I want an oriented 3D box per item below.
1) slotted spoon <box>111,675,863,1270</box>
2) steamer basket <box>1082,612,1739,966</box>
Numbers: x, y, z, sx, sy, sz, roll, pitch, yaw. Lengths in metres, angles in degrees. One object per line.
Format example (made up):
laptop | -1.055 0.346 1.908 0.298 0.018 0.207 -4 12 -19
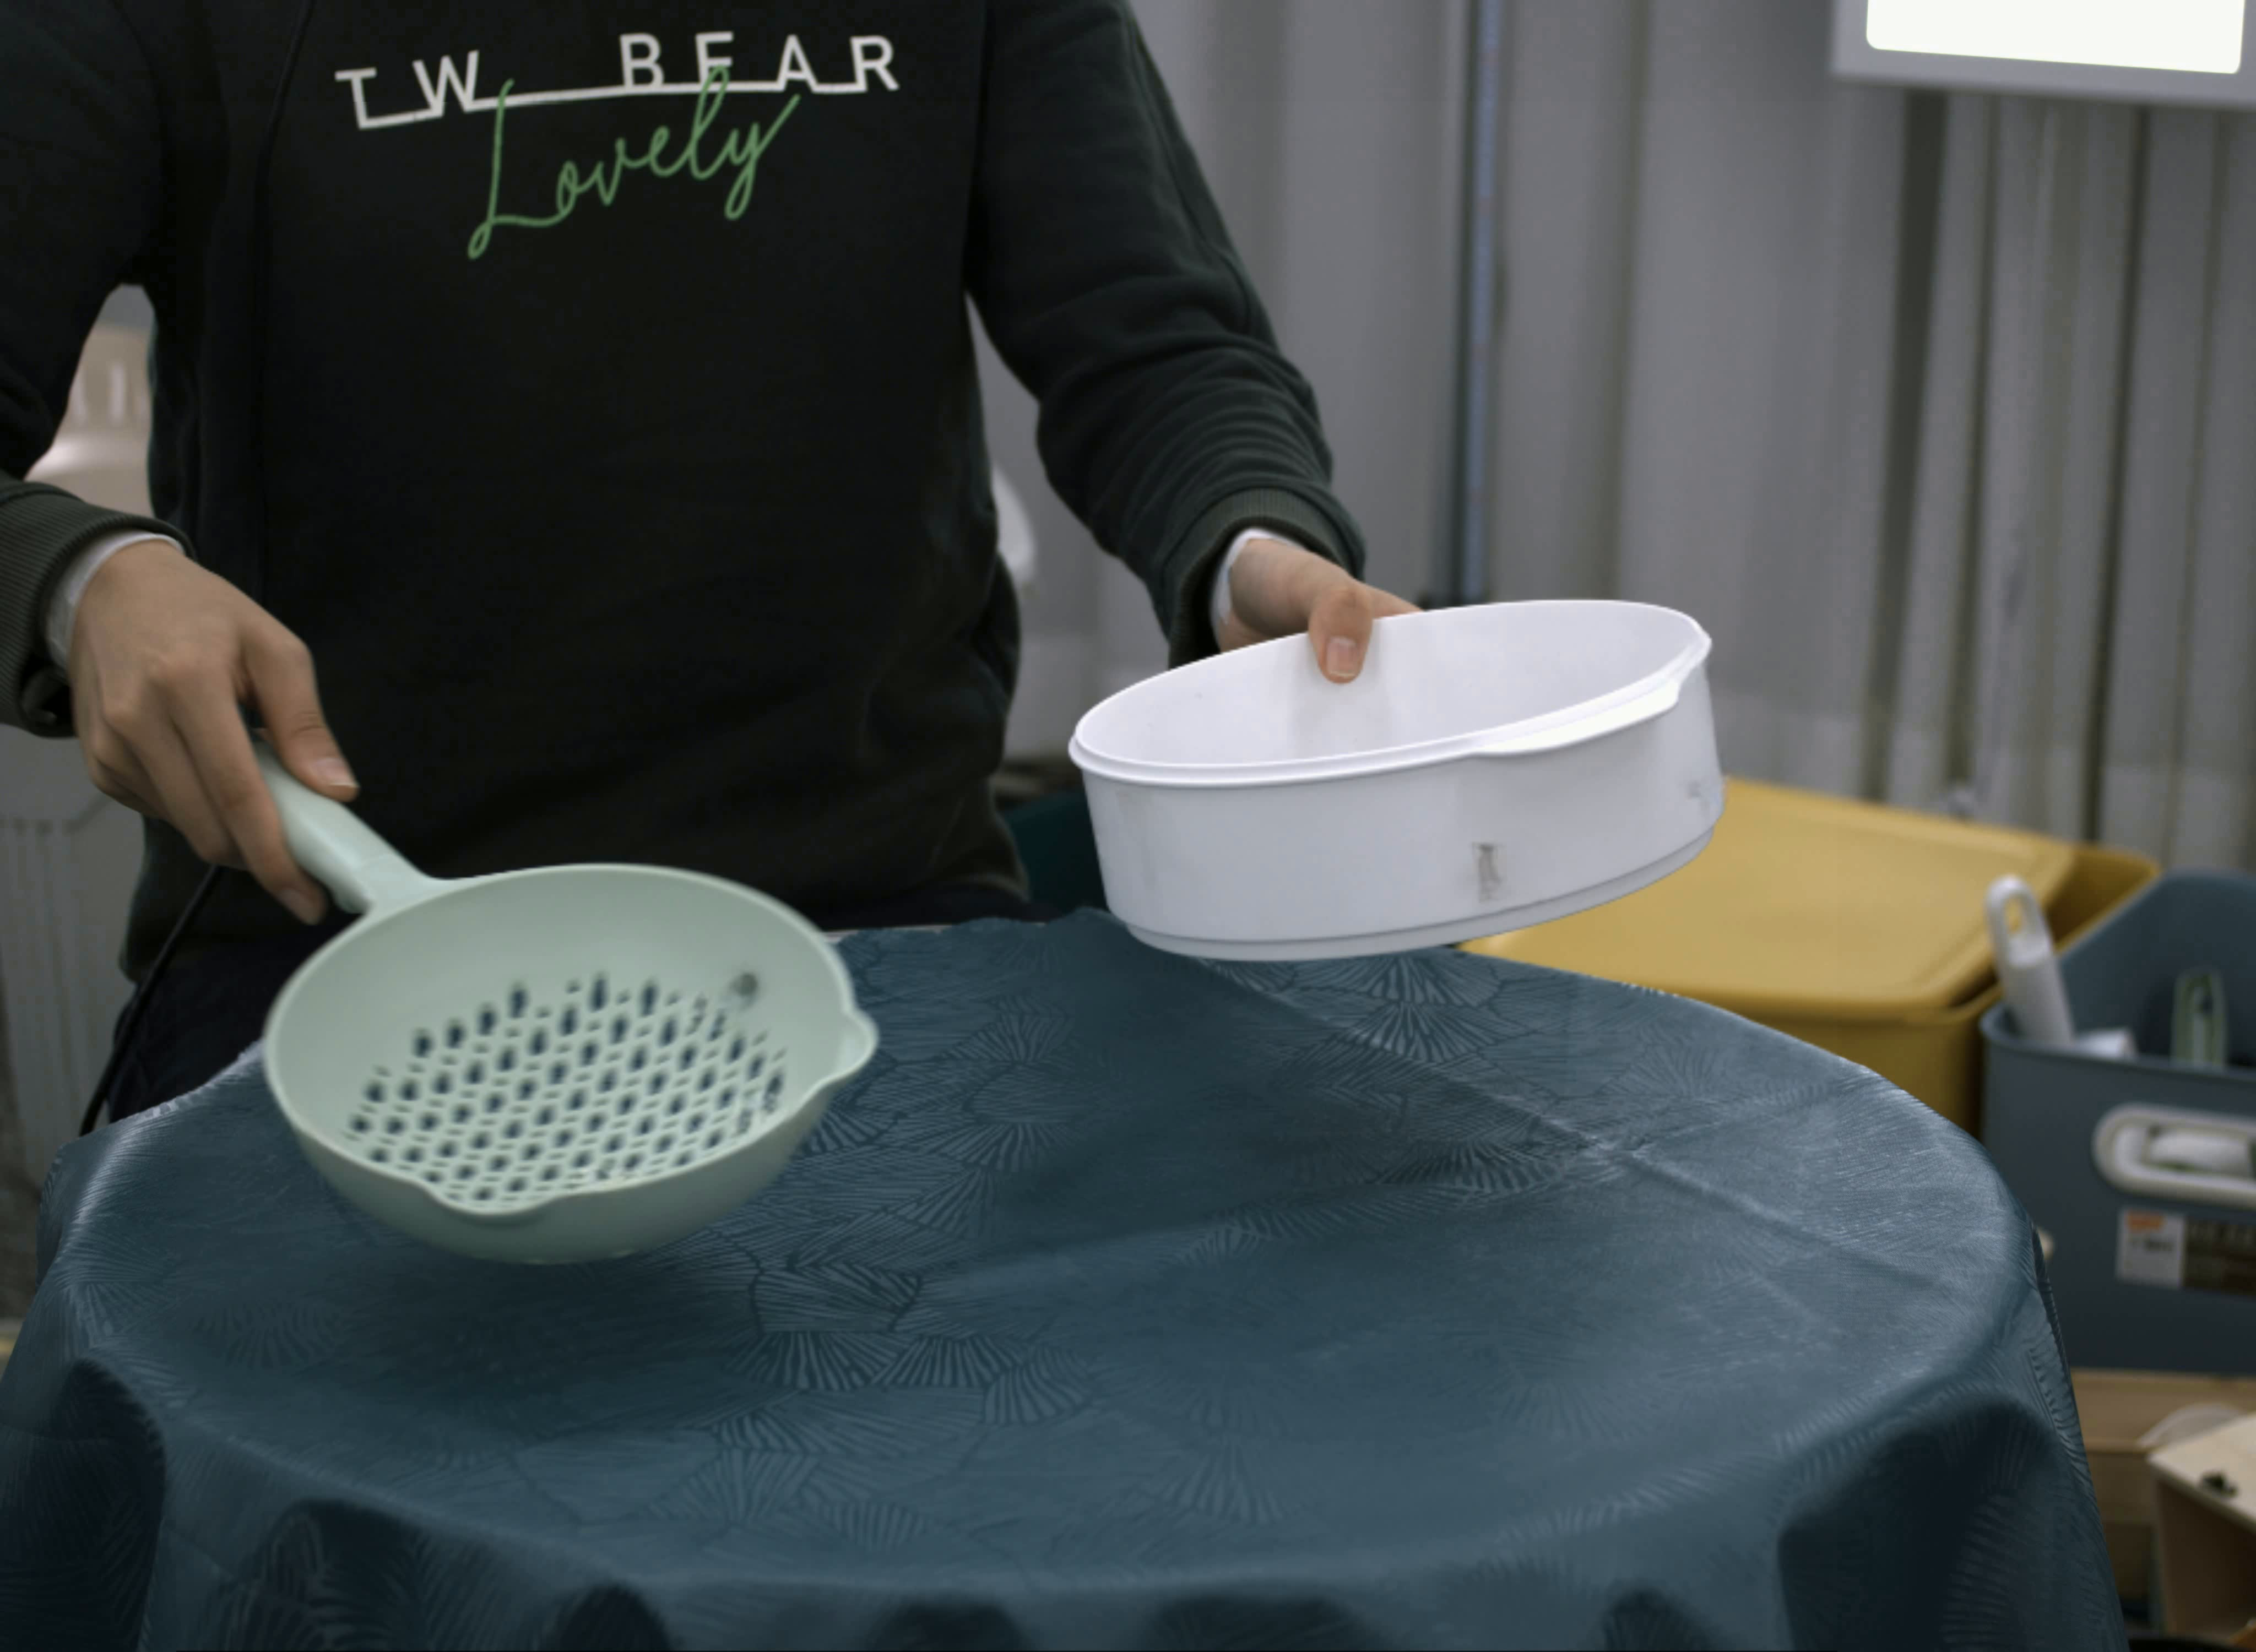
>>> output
slotted spoon | -0.223 0.026 1.582 0.170 0.076 0.354 -19 45 -30
steamer basket | 0.089 -0.011 1.621 0.202 0.070 0.228 -17 15 -31
